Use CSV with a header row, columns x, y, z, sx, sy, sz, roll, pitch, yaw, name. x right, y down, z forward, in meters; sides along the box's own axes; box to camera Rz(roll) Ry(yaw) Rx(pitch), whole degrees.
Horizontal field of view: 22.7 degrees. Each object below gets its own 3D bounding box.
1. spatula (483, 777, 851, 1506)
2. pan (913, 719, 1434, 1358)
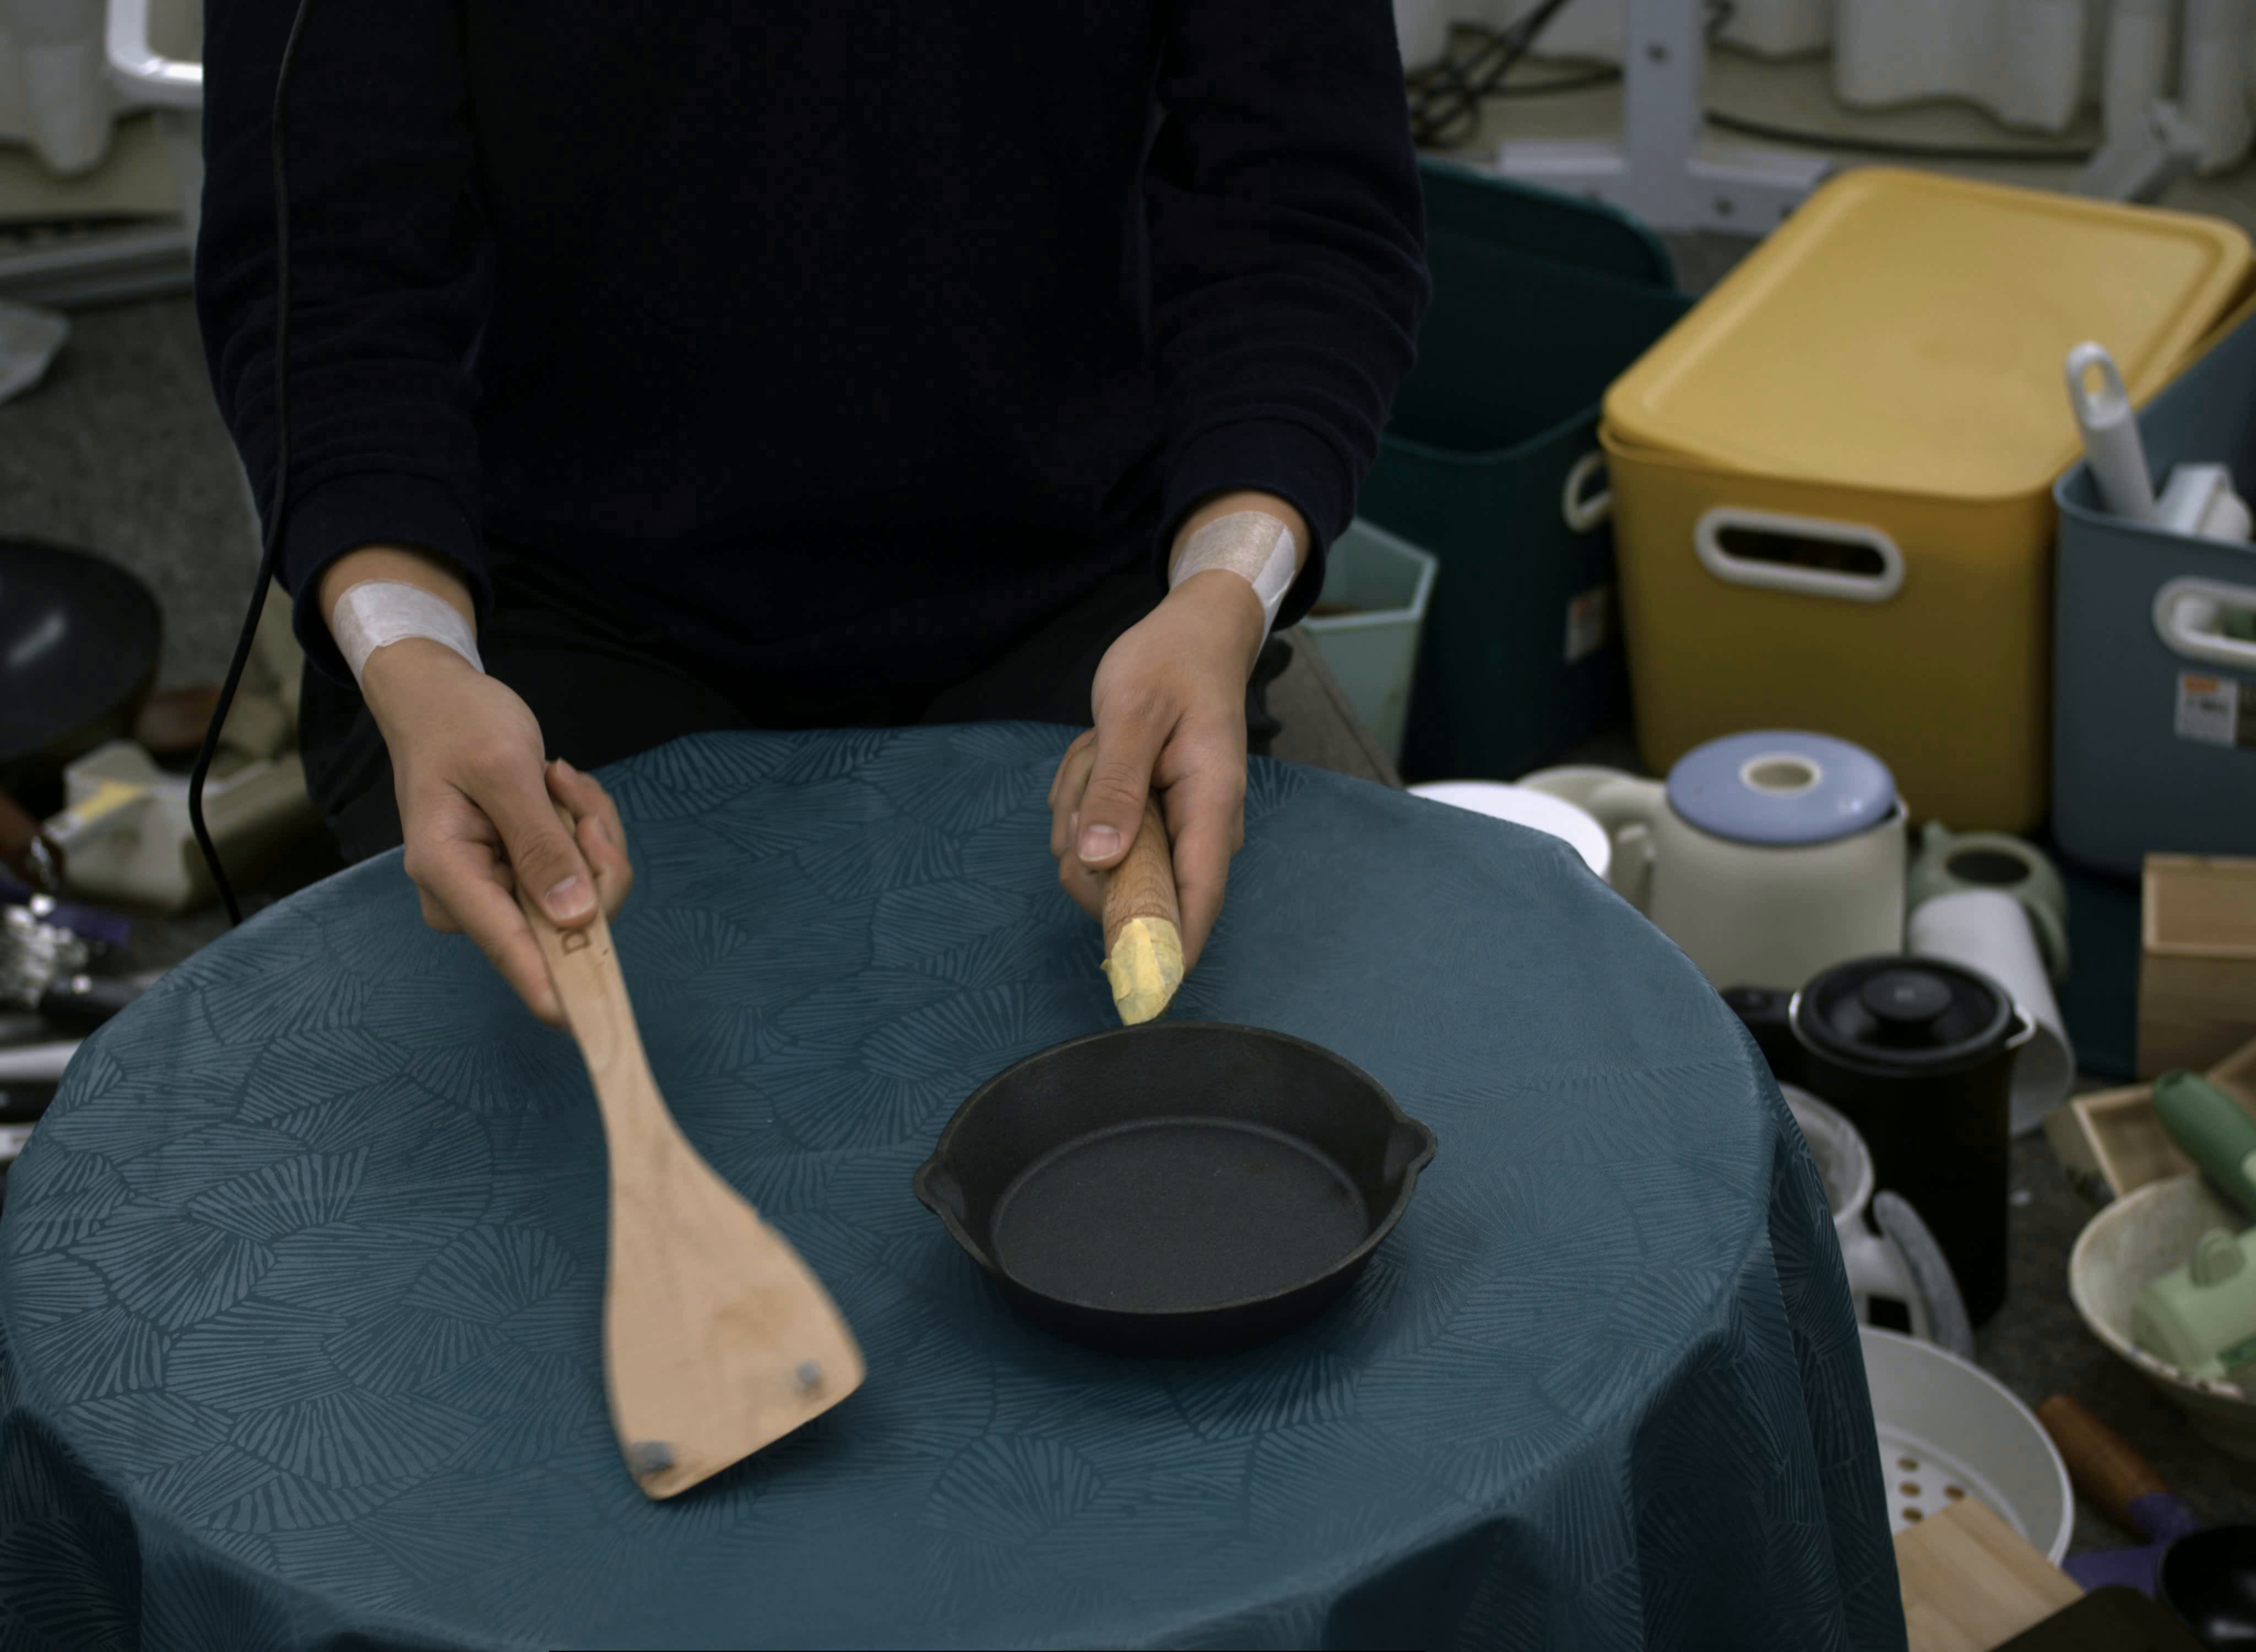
x,y,z,sx,sy,sz,roll,pitch,yaw,name
-0.165,0.092,1.831,0.080,0.016,0.332,-16,46,-7,spatula
0.011,0.068,1.885,0.168,0.049,0.329,-3,33,-1,pan
